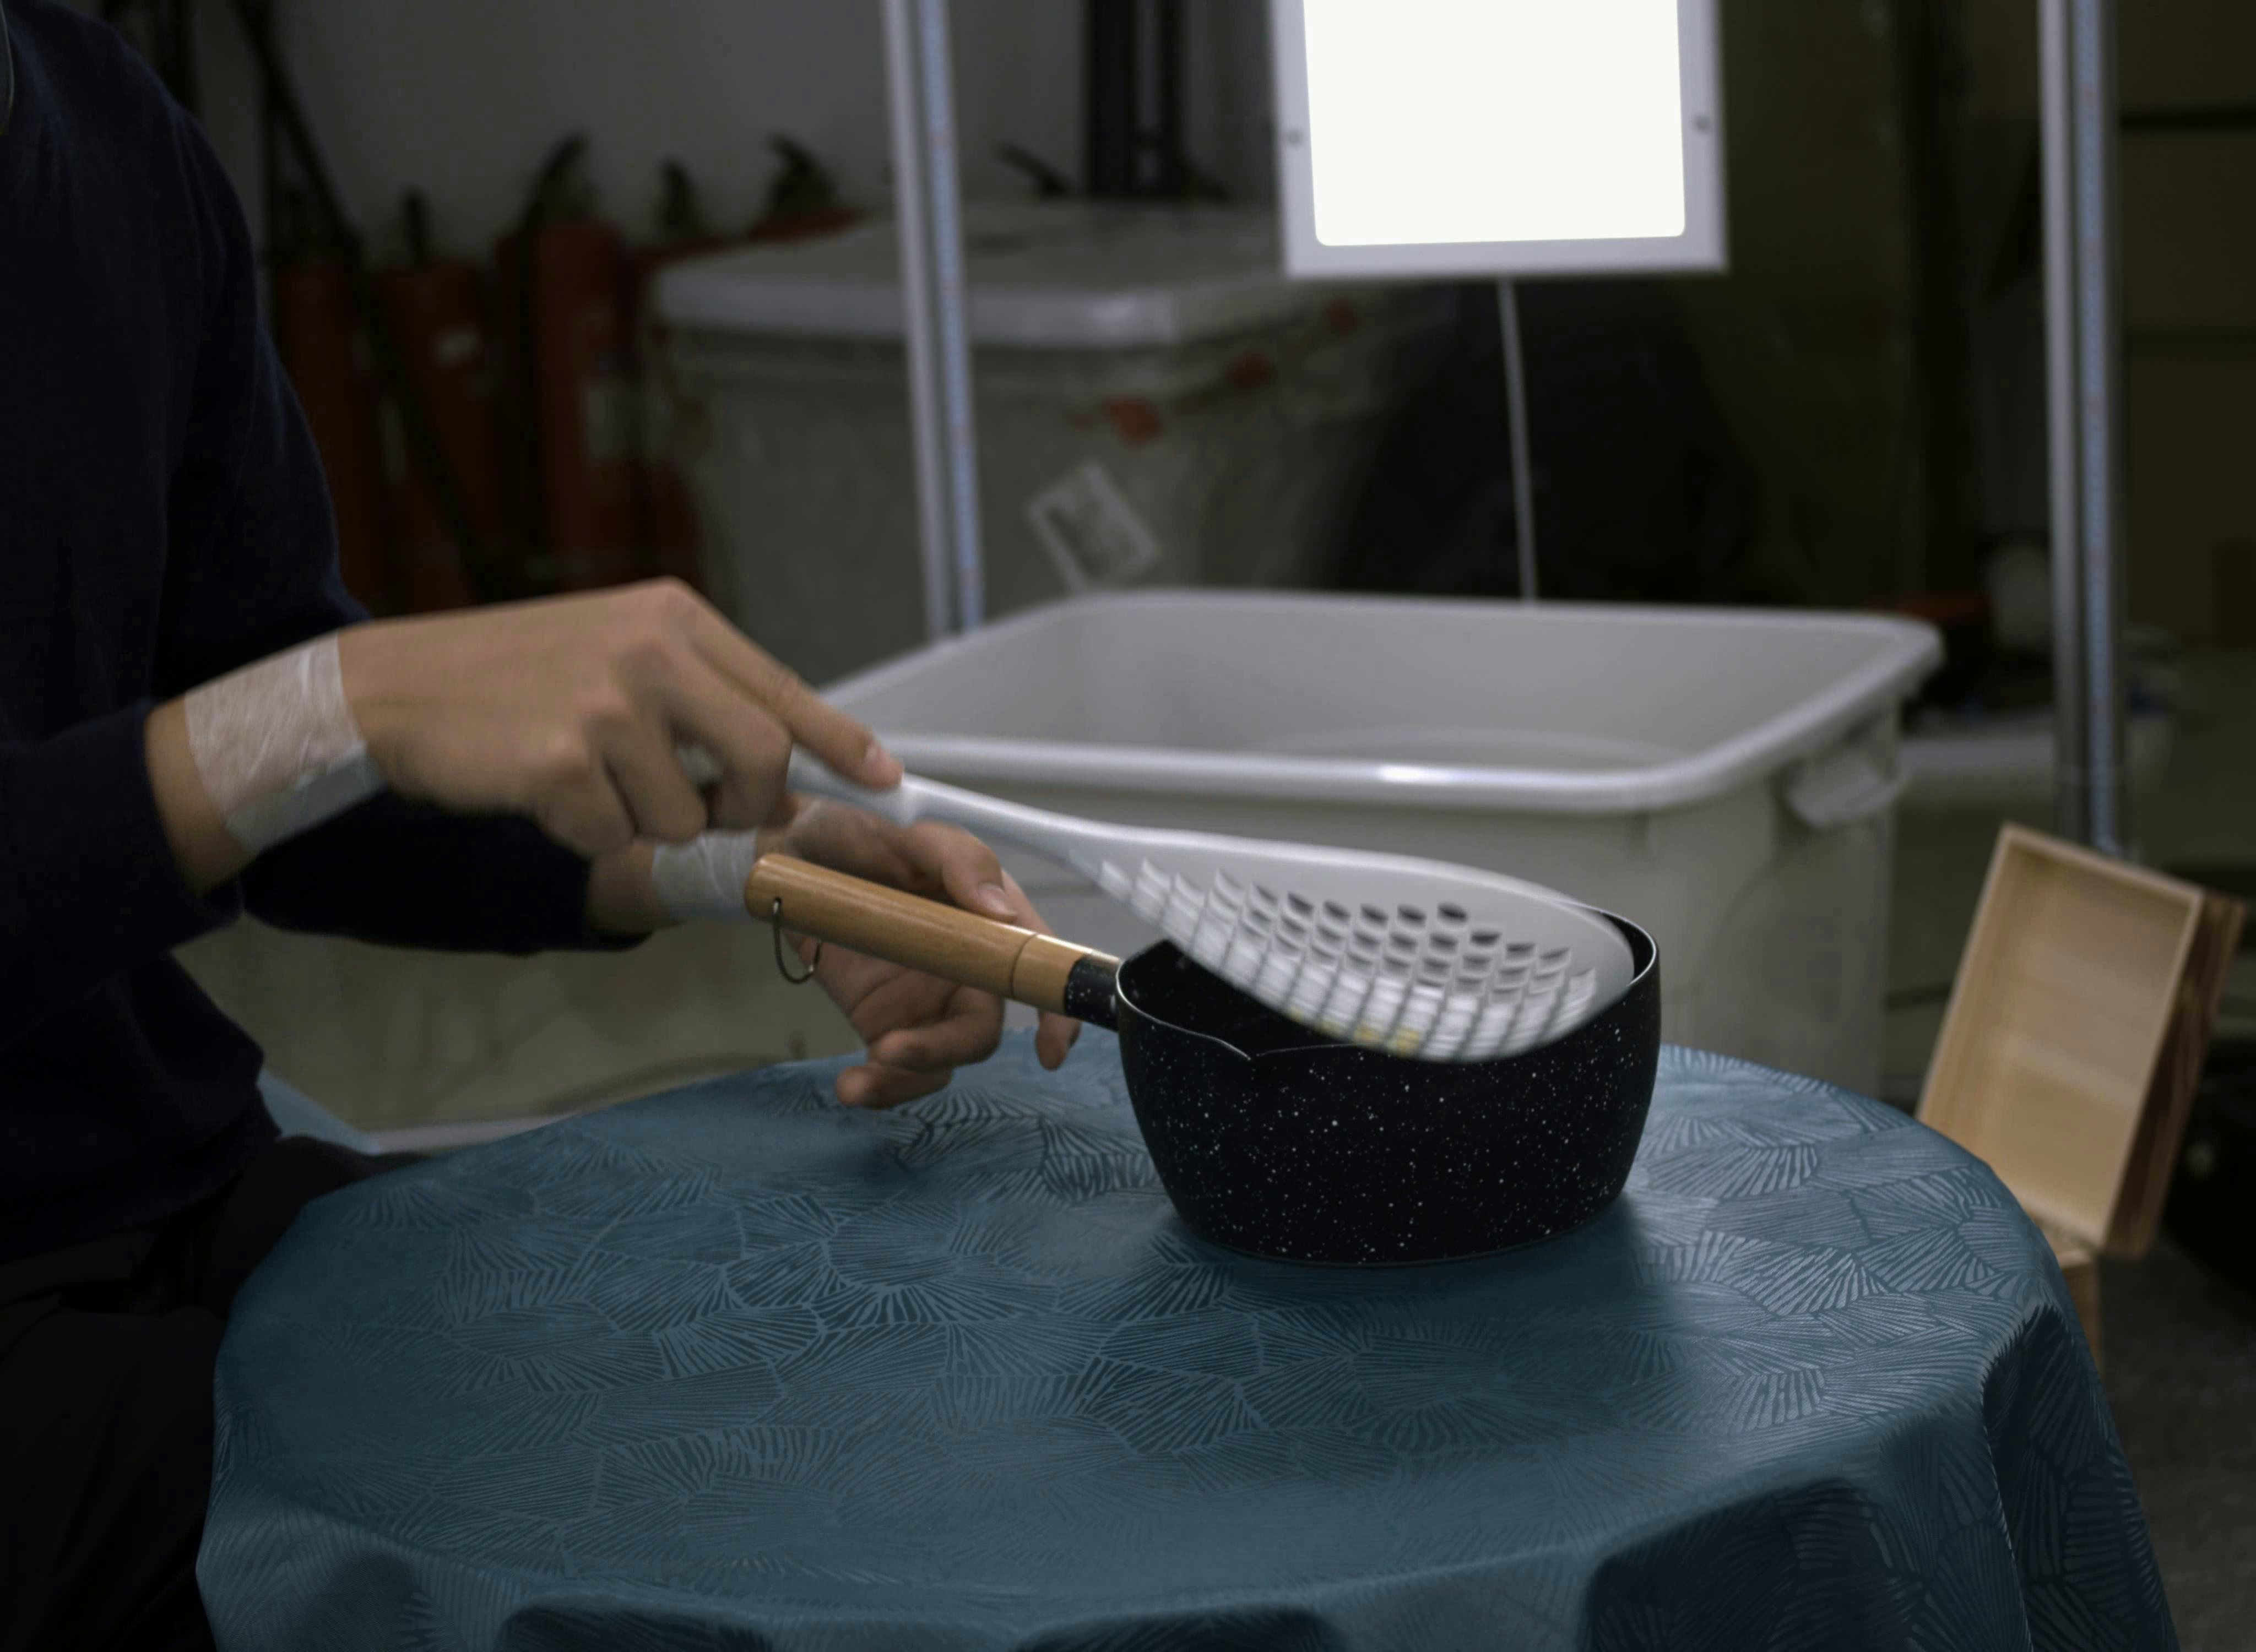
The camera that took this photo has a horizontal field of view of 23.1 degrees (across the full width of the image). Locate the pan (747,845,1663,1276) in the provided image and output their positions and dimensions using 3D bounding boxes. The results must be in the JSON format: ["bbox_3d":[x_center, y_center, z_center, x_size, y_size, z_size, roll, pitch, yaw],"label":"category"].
[{"bbox_3d":[0.019,0.071,1.888,0.349,0.108,0.203,4,18,28],"label":"pan"}]

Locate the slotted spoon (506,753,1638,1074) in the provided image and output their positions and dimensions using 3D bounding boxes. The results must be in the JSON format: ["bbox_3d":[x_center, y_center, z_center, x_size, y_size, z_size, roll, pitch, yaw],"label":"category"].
[{"bbox_3d":[-0.017,0.018,1.673,0.346,0.050,0.138,19,-16,-2],"label":"slotted spoon"}]
